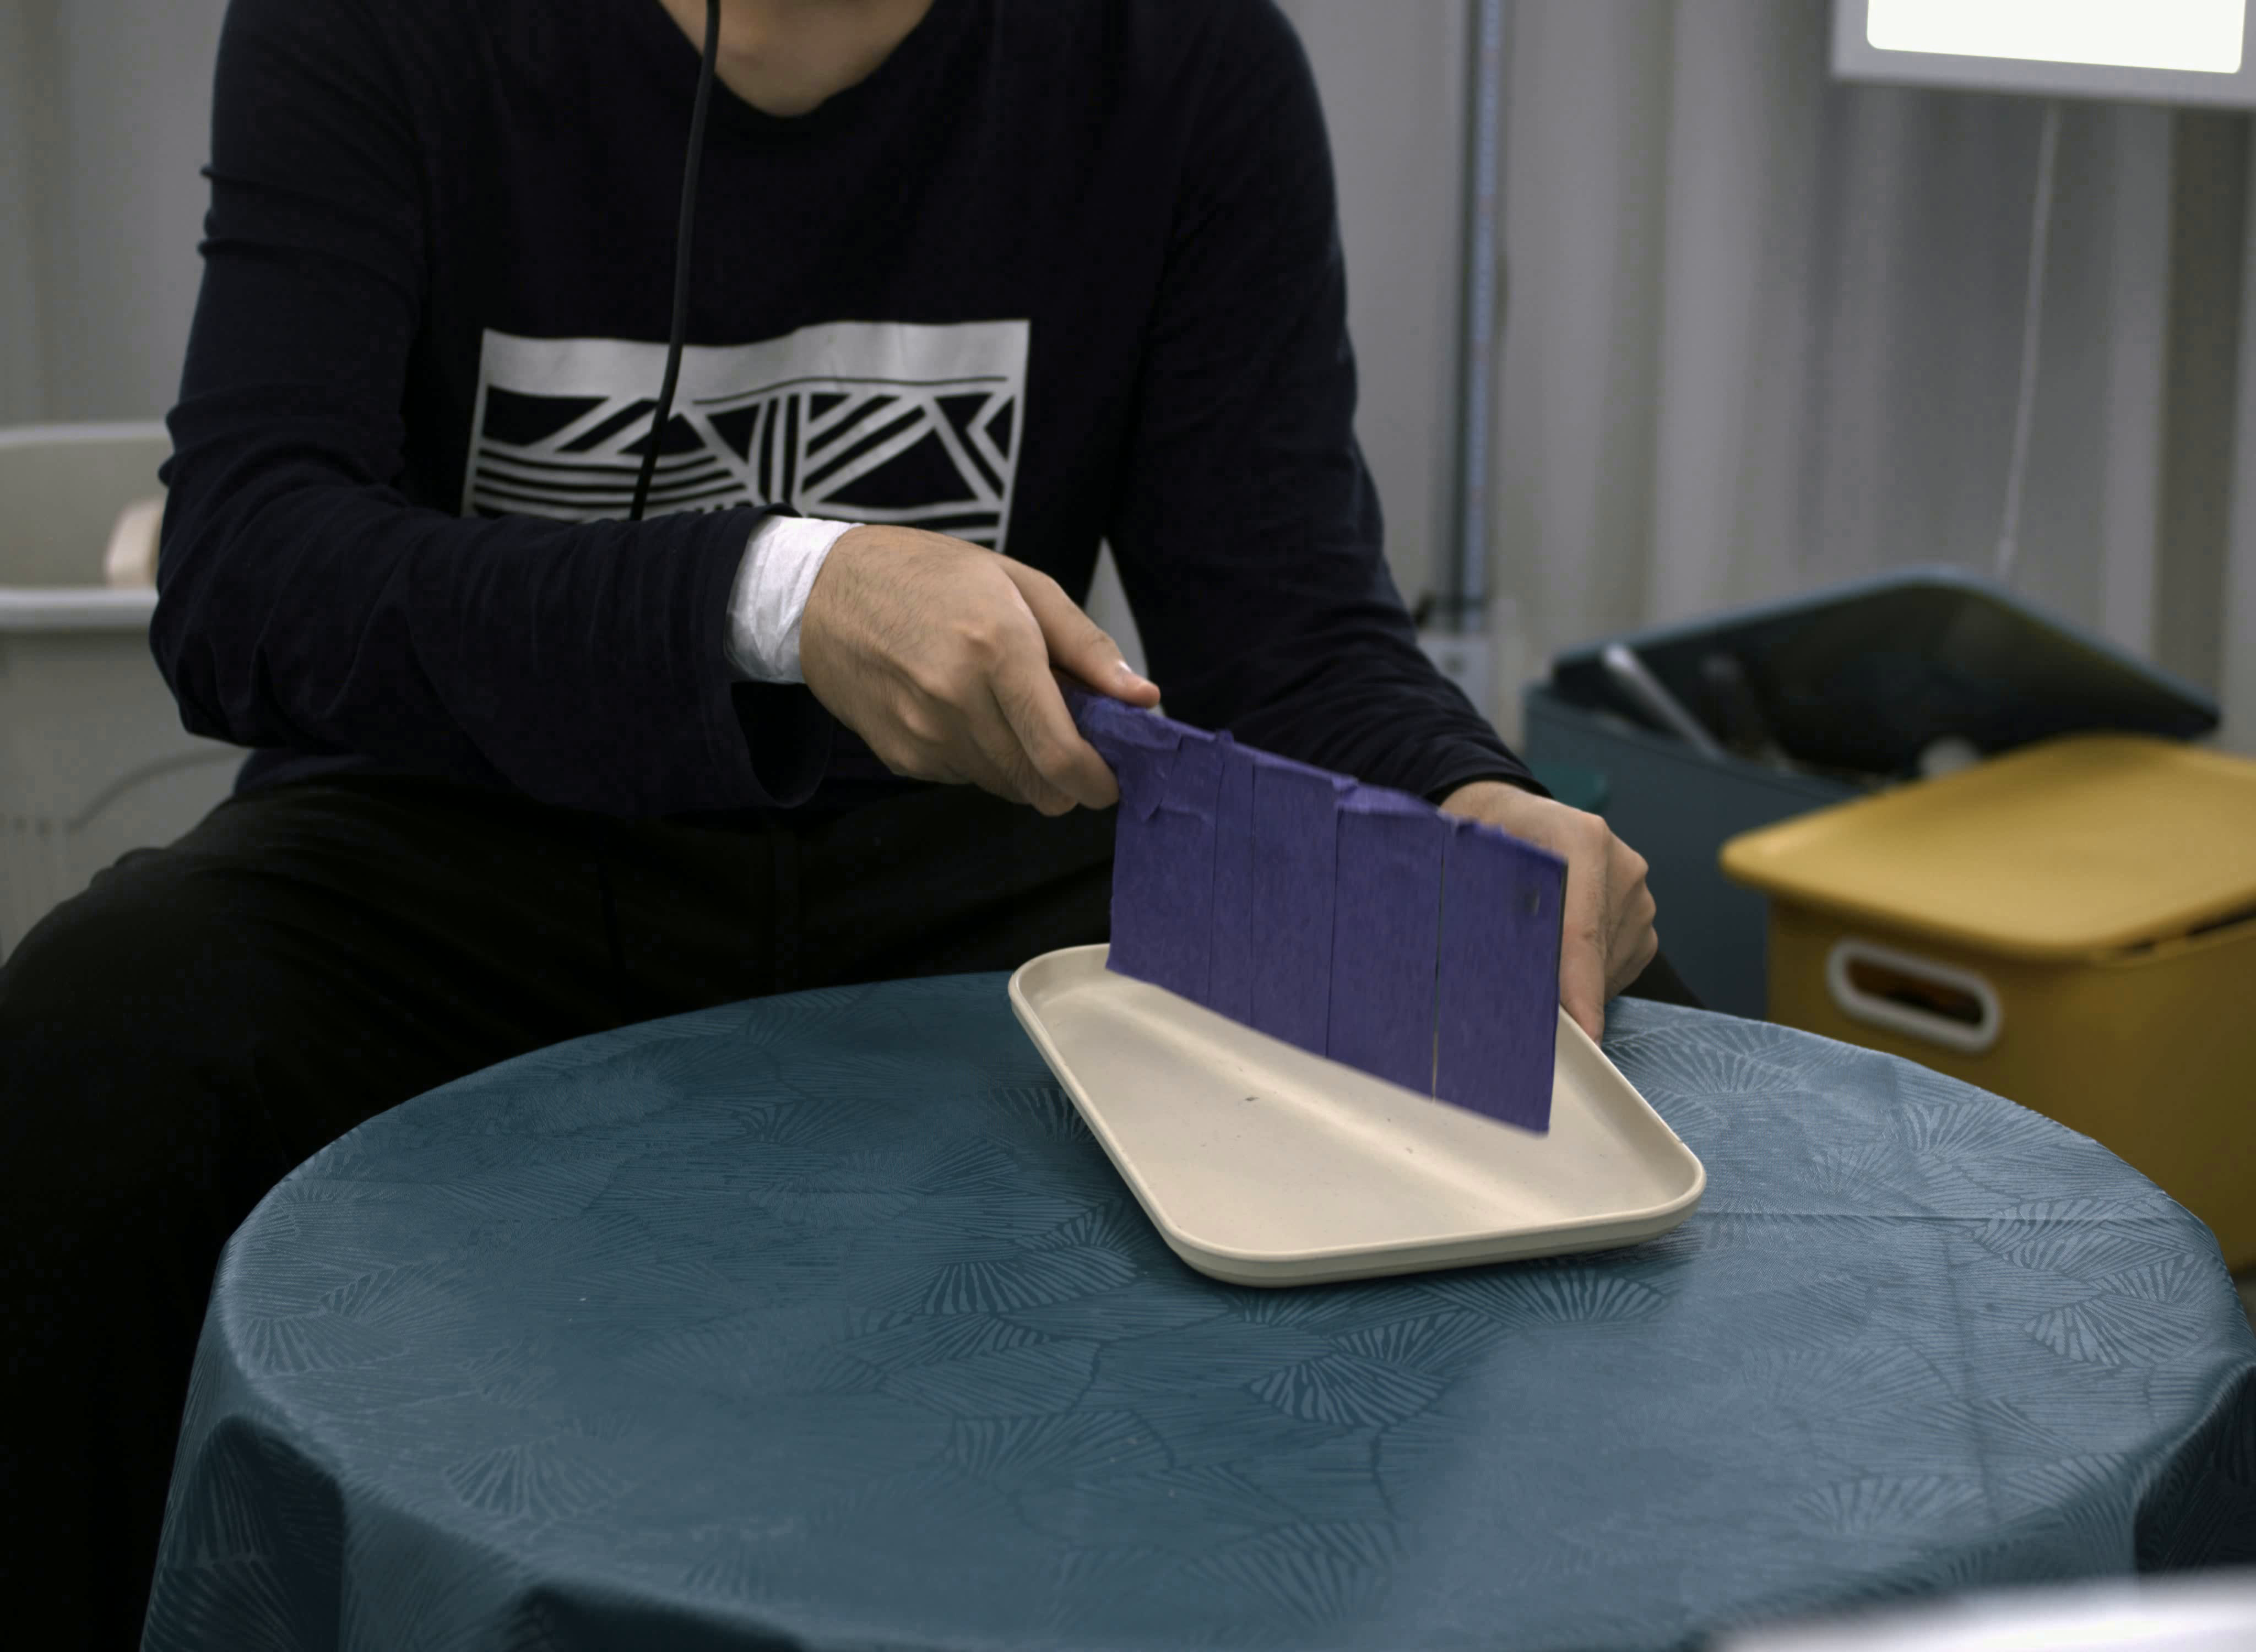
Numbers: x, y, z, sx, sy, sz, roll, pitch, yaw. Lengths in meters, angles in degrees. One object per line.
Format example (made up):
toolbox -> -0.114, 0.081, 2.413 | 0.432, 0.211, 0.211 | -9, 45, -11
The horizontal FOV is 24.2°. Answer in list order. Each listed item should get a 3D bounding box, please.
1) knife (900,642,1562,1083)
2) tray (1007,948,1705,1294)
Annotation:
knife -> 0.027, 0.011, 1.668 | 0.032, 0.104, 0.311 | -7, 16, -37
tray -> 0.067, 0.085, 1.650 | 0.171, 0.017, 0.237 | -6, 23, -15
